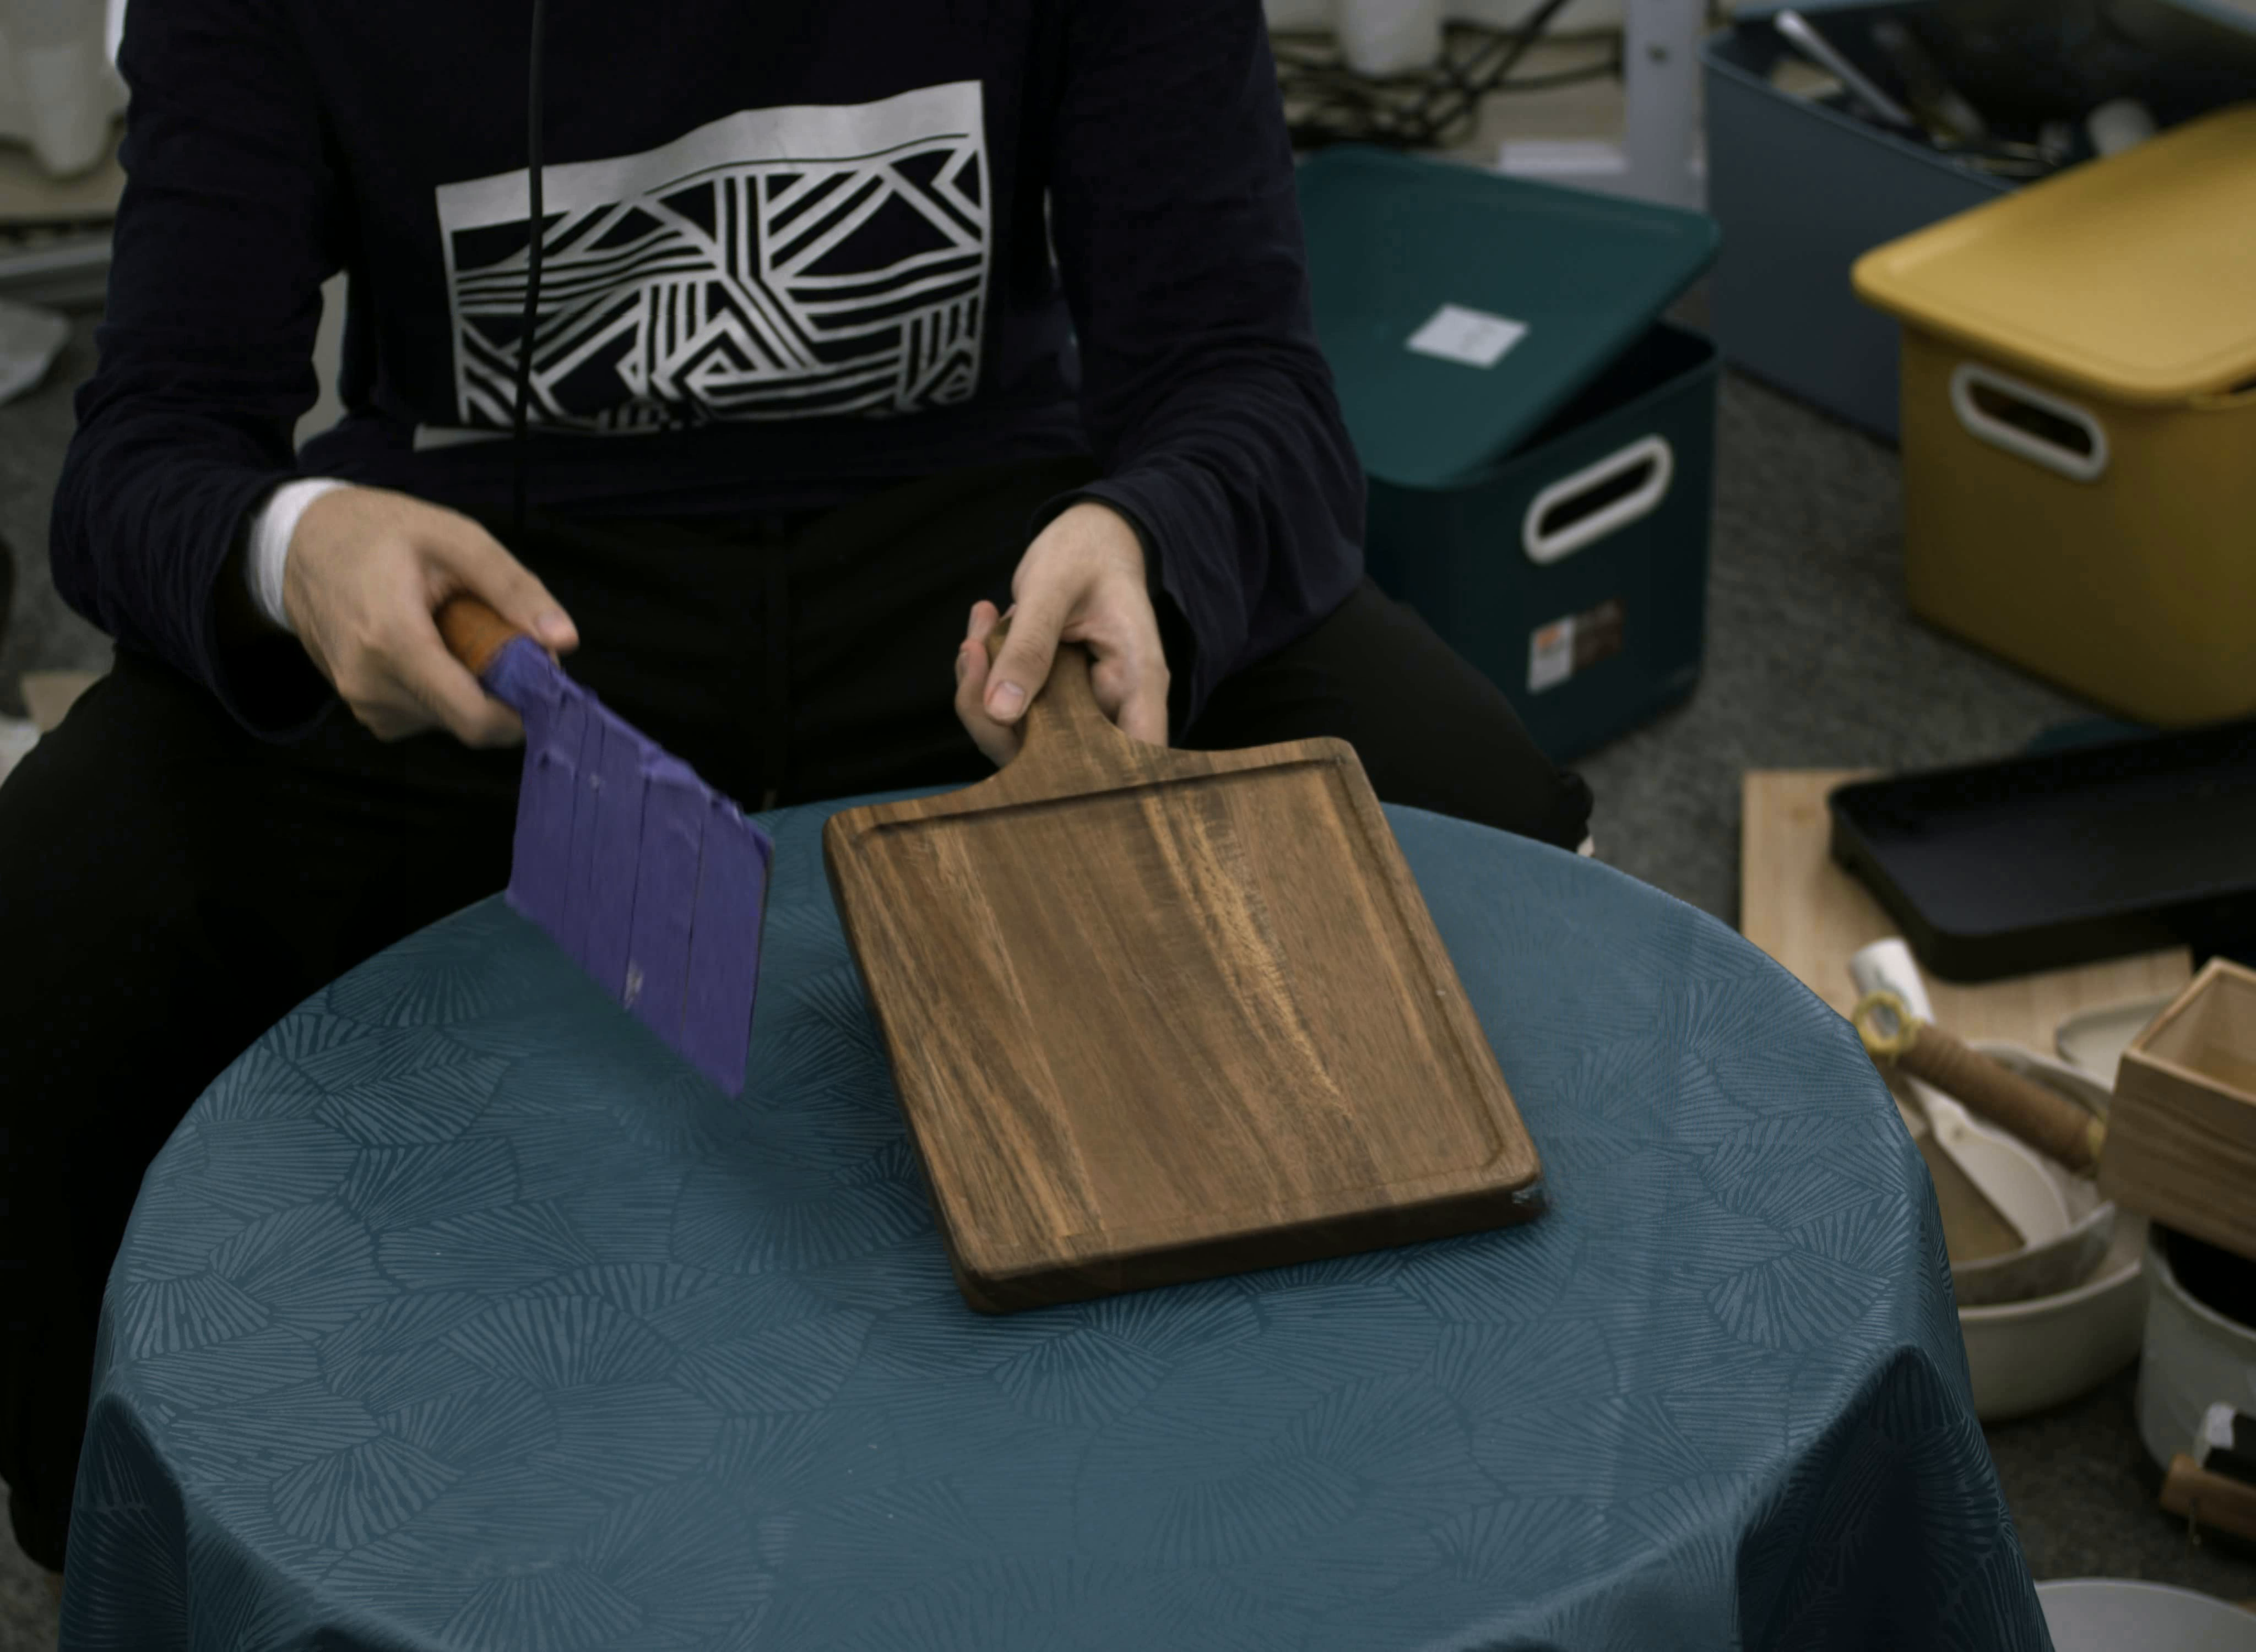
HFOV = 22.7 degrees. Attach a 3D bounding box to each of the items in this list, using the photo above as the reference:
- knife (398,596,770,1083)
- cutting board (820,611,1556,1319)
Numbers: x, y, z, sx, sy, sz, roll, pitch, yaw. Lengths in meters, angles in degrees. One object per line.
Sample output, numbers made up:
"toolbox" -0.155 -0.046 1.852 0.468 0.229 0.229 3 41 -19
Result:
"knife" -0.190 0.003 1.903 0.032 0.103 0.316 5 14 -27
"cutting board" 0.004 0.033 1.942 0.201 0.023 0.357 -8 38 -11
